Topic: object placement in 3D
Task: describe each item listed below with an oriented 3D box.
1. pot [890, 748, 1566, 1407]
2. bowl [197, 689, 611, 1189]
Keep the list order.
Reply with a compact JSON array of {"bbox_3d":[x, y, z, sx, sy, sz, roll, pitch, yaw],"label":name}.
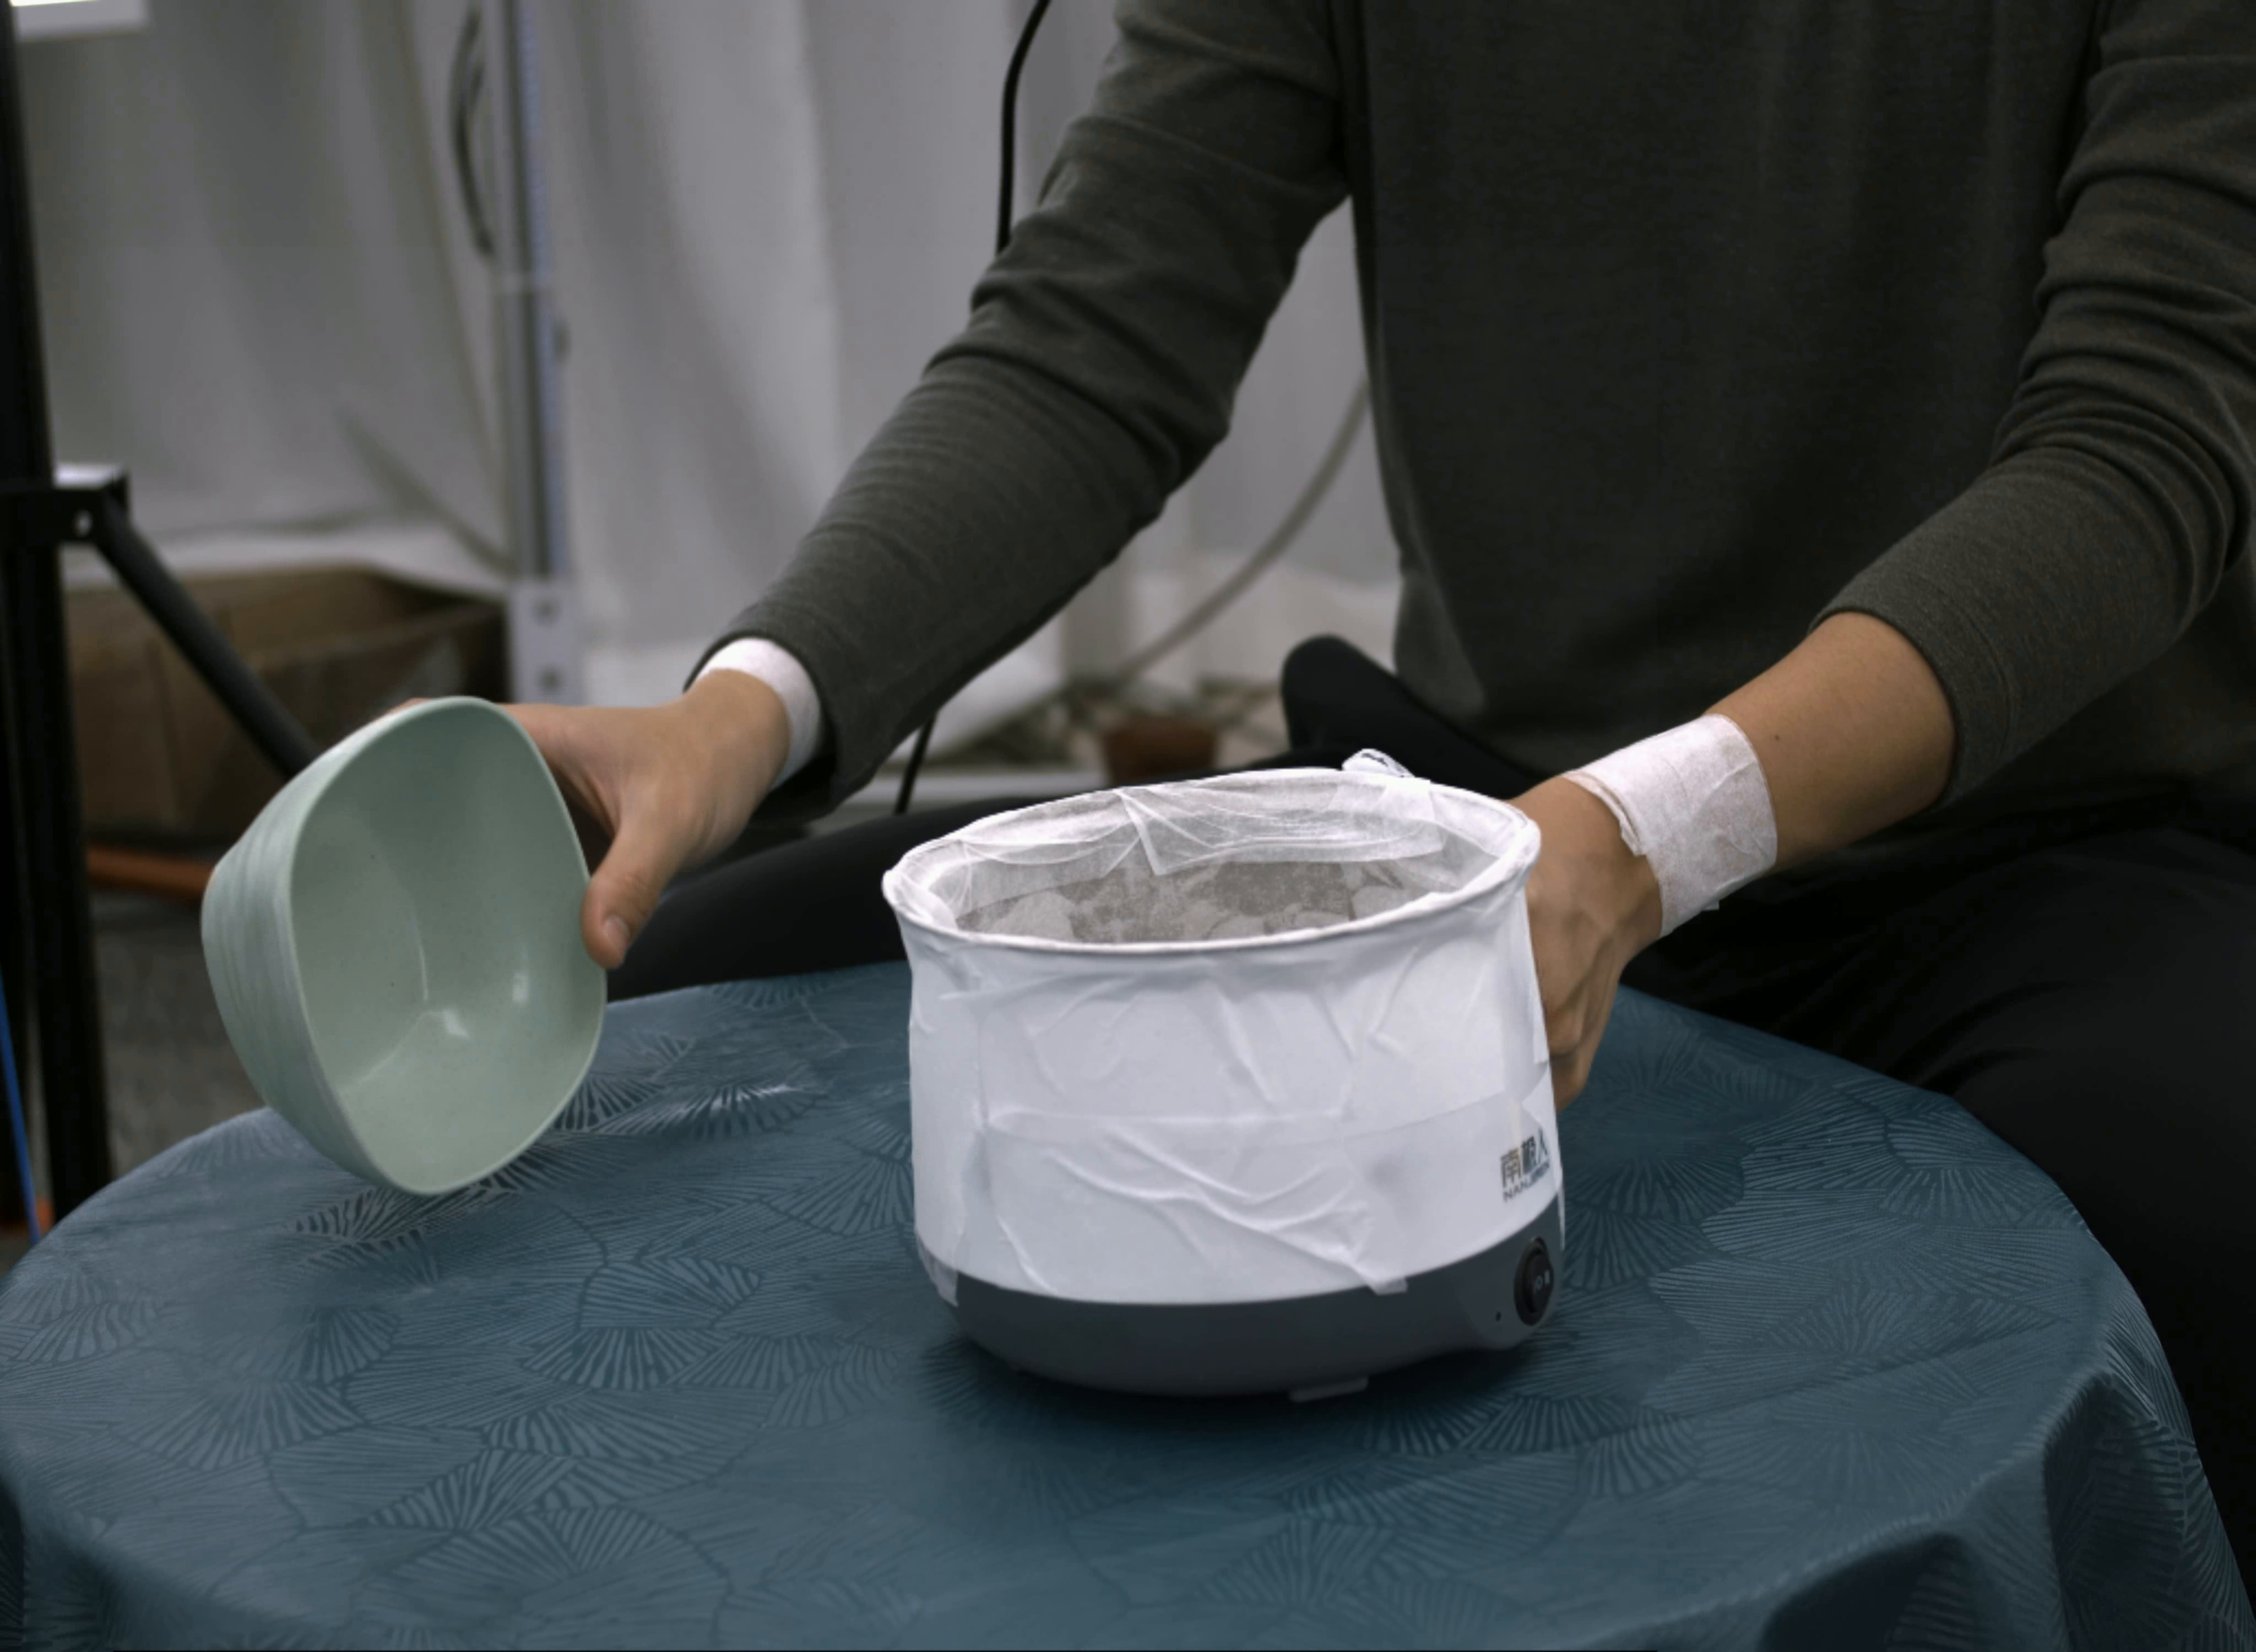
[{"bbox_3d":[0.041,0.062,1.457,0.182,0.136,0.230,3,16,28],"label":"pot"},{"bbox_3d":[-0.222,0.034,1.580,0.060,0.151,0.148,-5,11,35],"label":"bowl"}]
